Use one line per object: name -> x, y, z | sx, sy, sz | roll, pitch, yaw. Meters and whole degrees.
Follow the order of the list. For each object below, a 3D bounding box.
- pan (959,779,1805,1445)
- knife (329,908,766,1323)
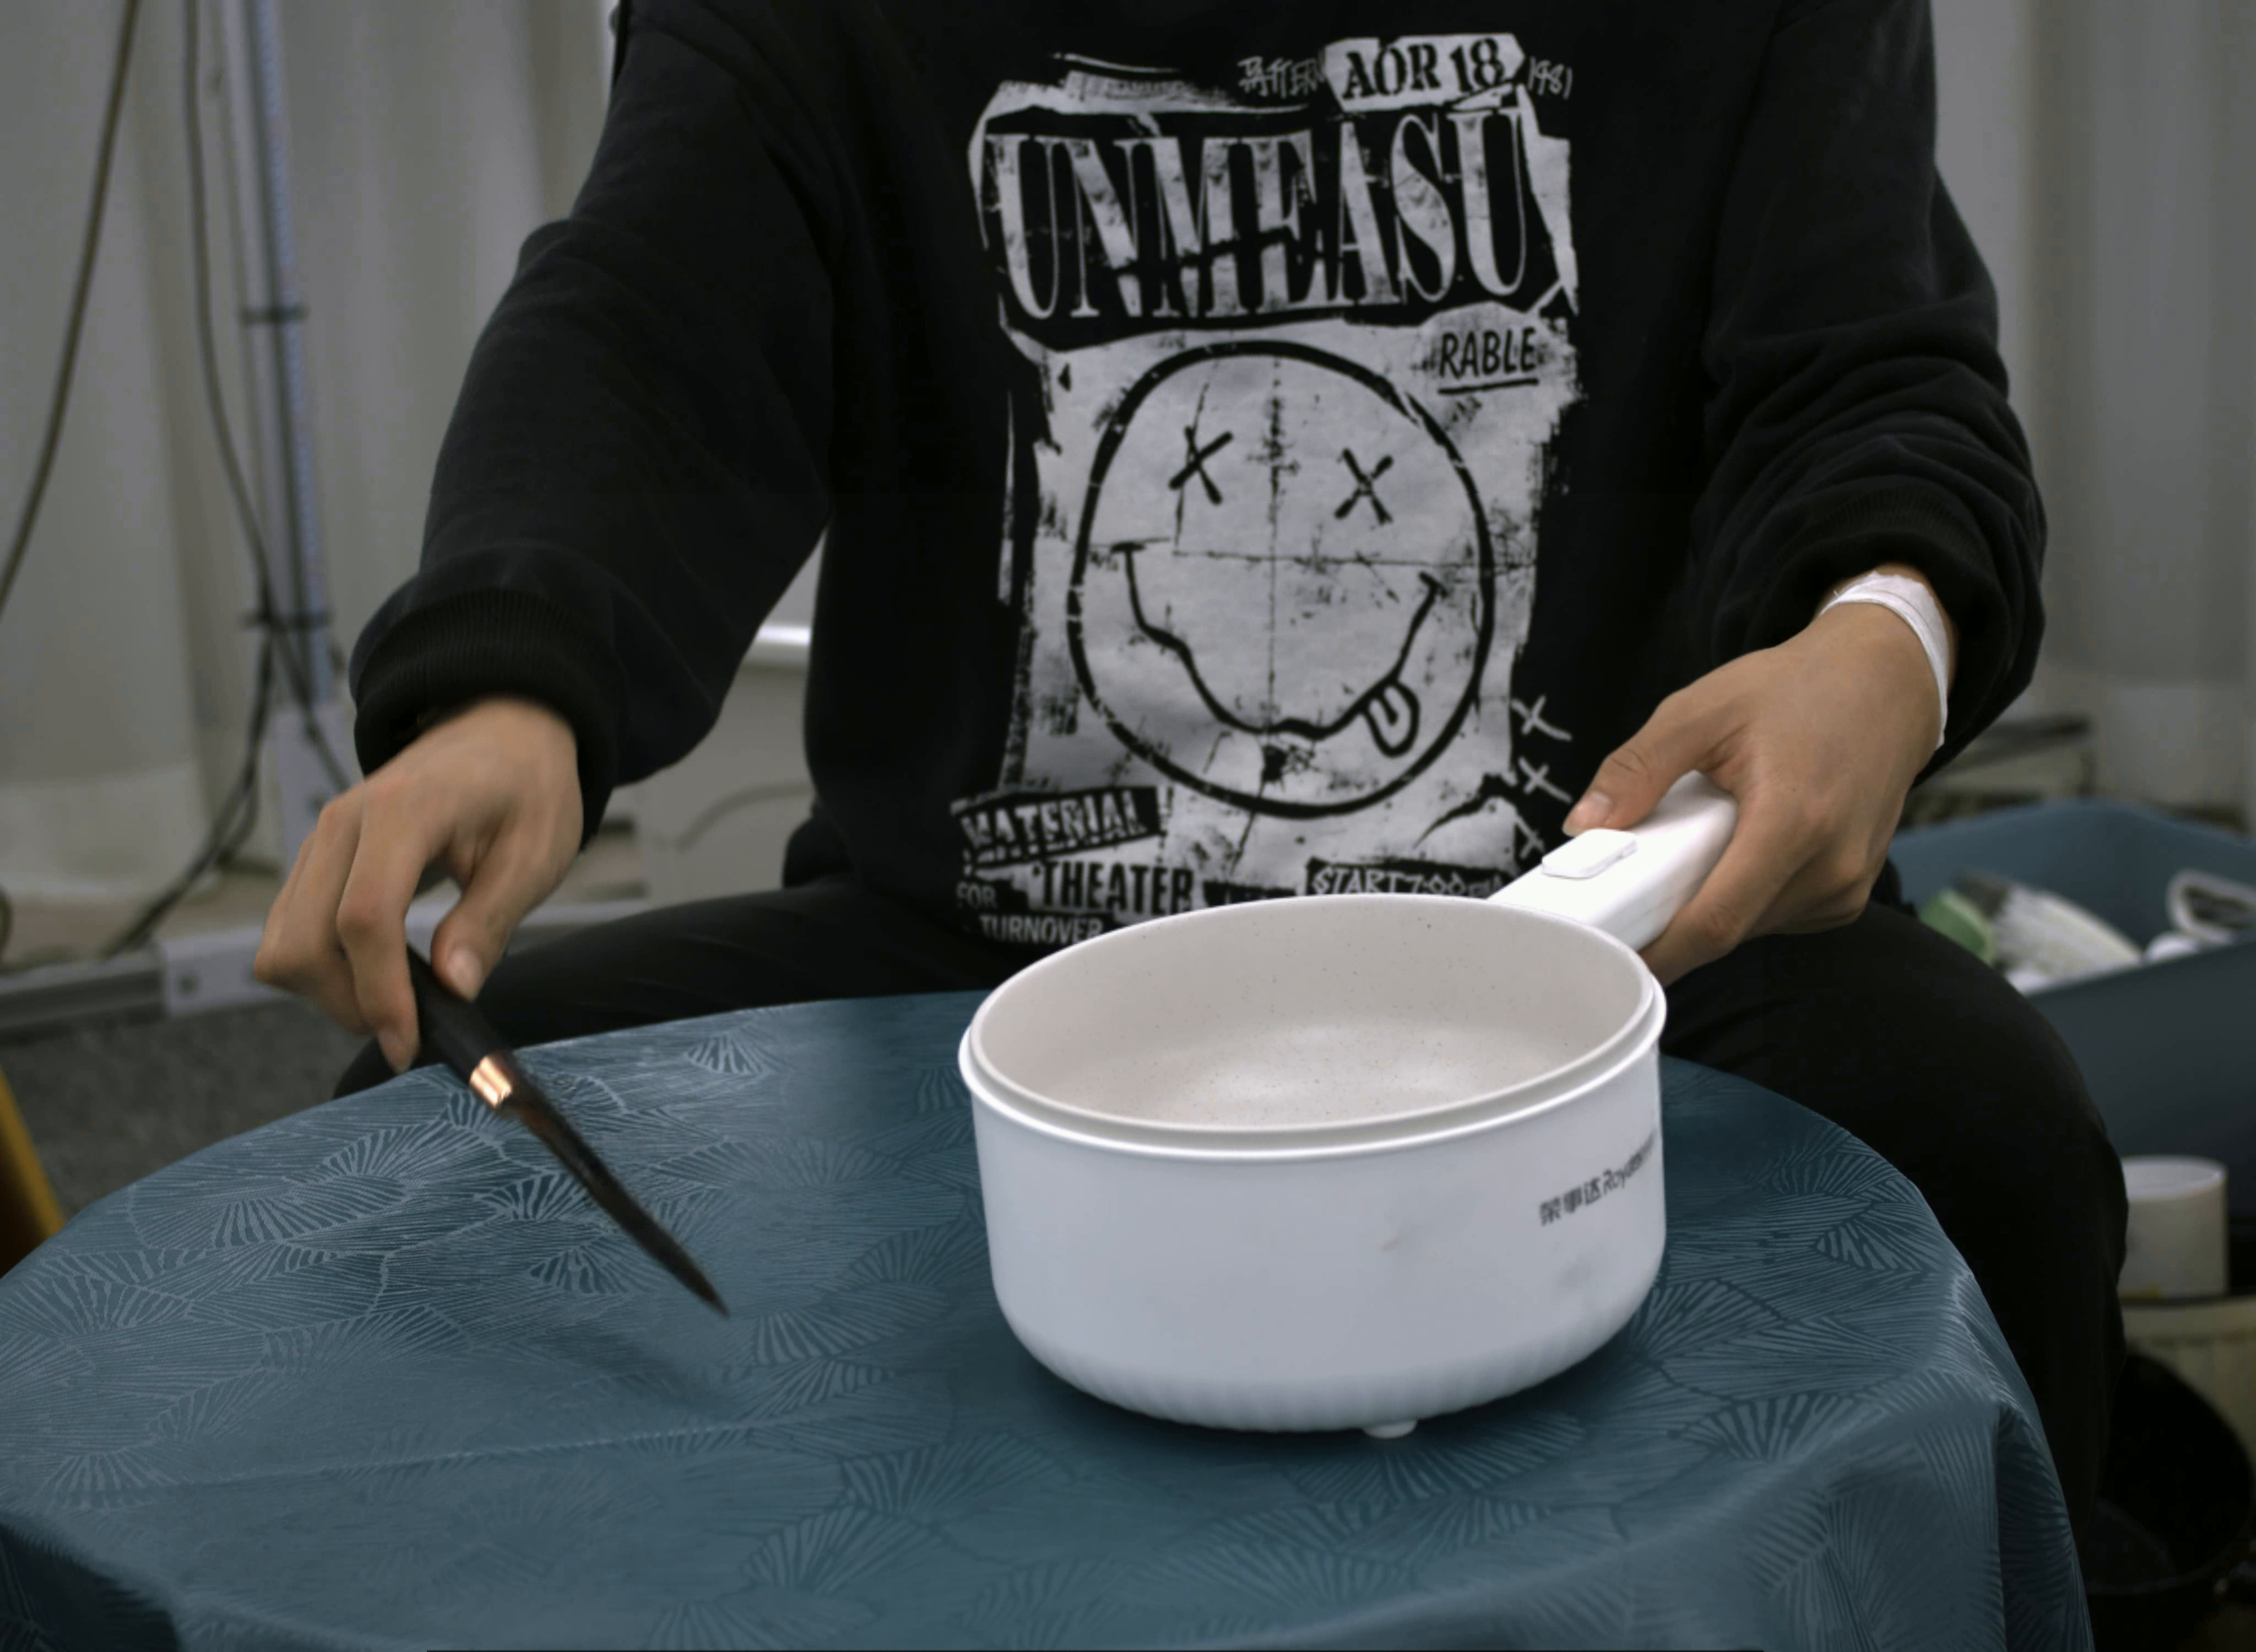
pan -> 0.099, 0.080, 1.618 | 0.202, 0.101, 0.355 | 5, 19, 35
knife -> -0.175, 0.084, 1.619 | 0.228, 0.017, 0.026 | 39, 8, 41
